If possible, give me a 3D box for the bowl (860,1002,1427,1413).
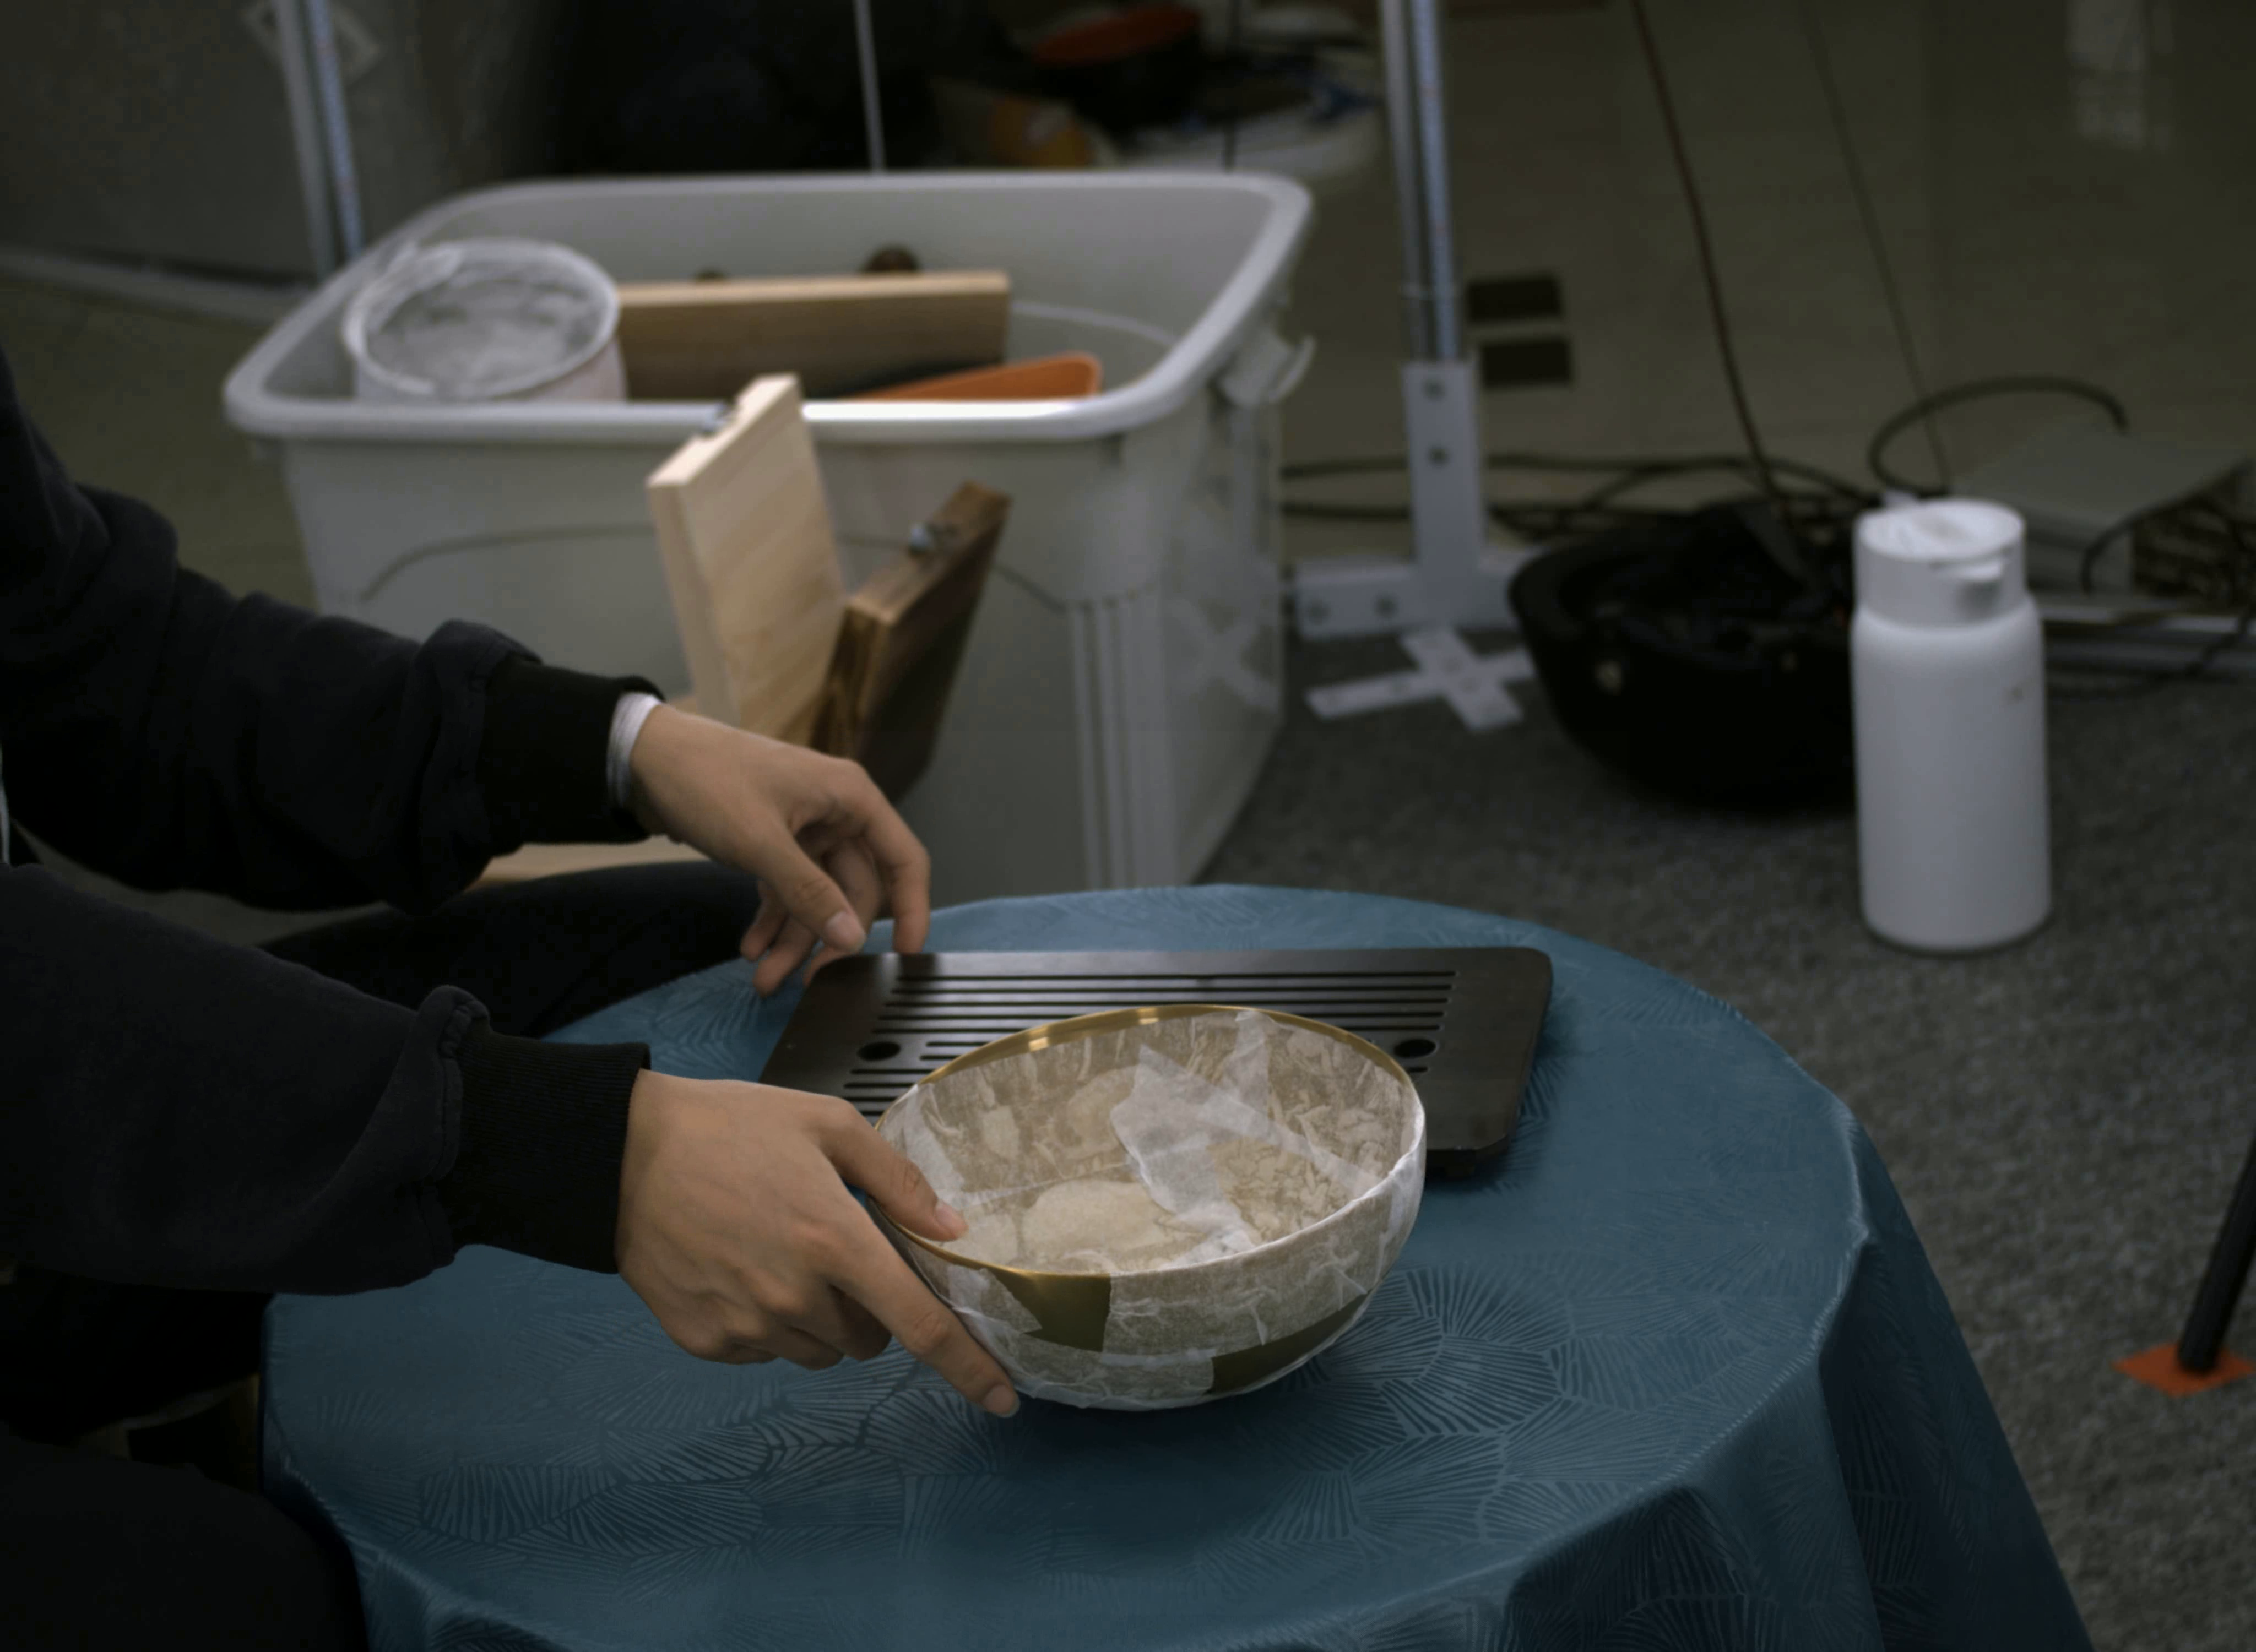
[{"bbox_3d":[0.008,0.147,2.023,0.214,0.096,0.211,-6,26,3],"label":"bowl"}]

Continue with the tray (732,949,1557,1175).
[{"bbox_3d":[0.009,0.094,2.228,0.305,0.019,0.167,-1,25,12],"label":"tray"}]
